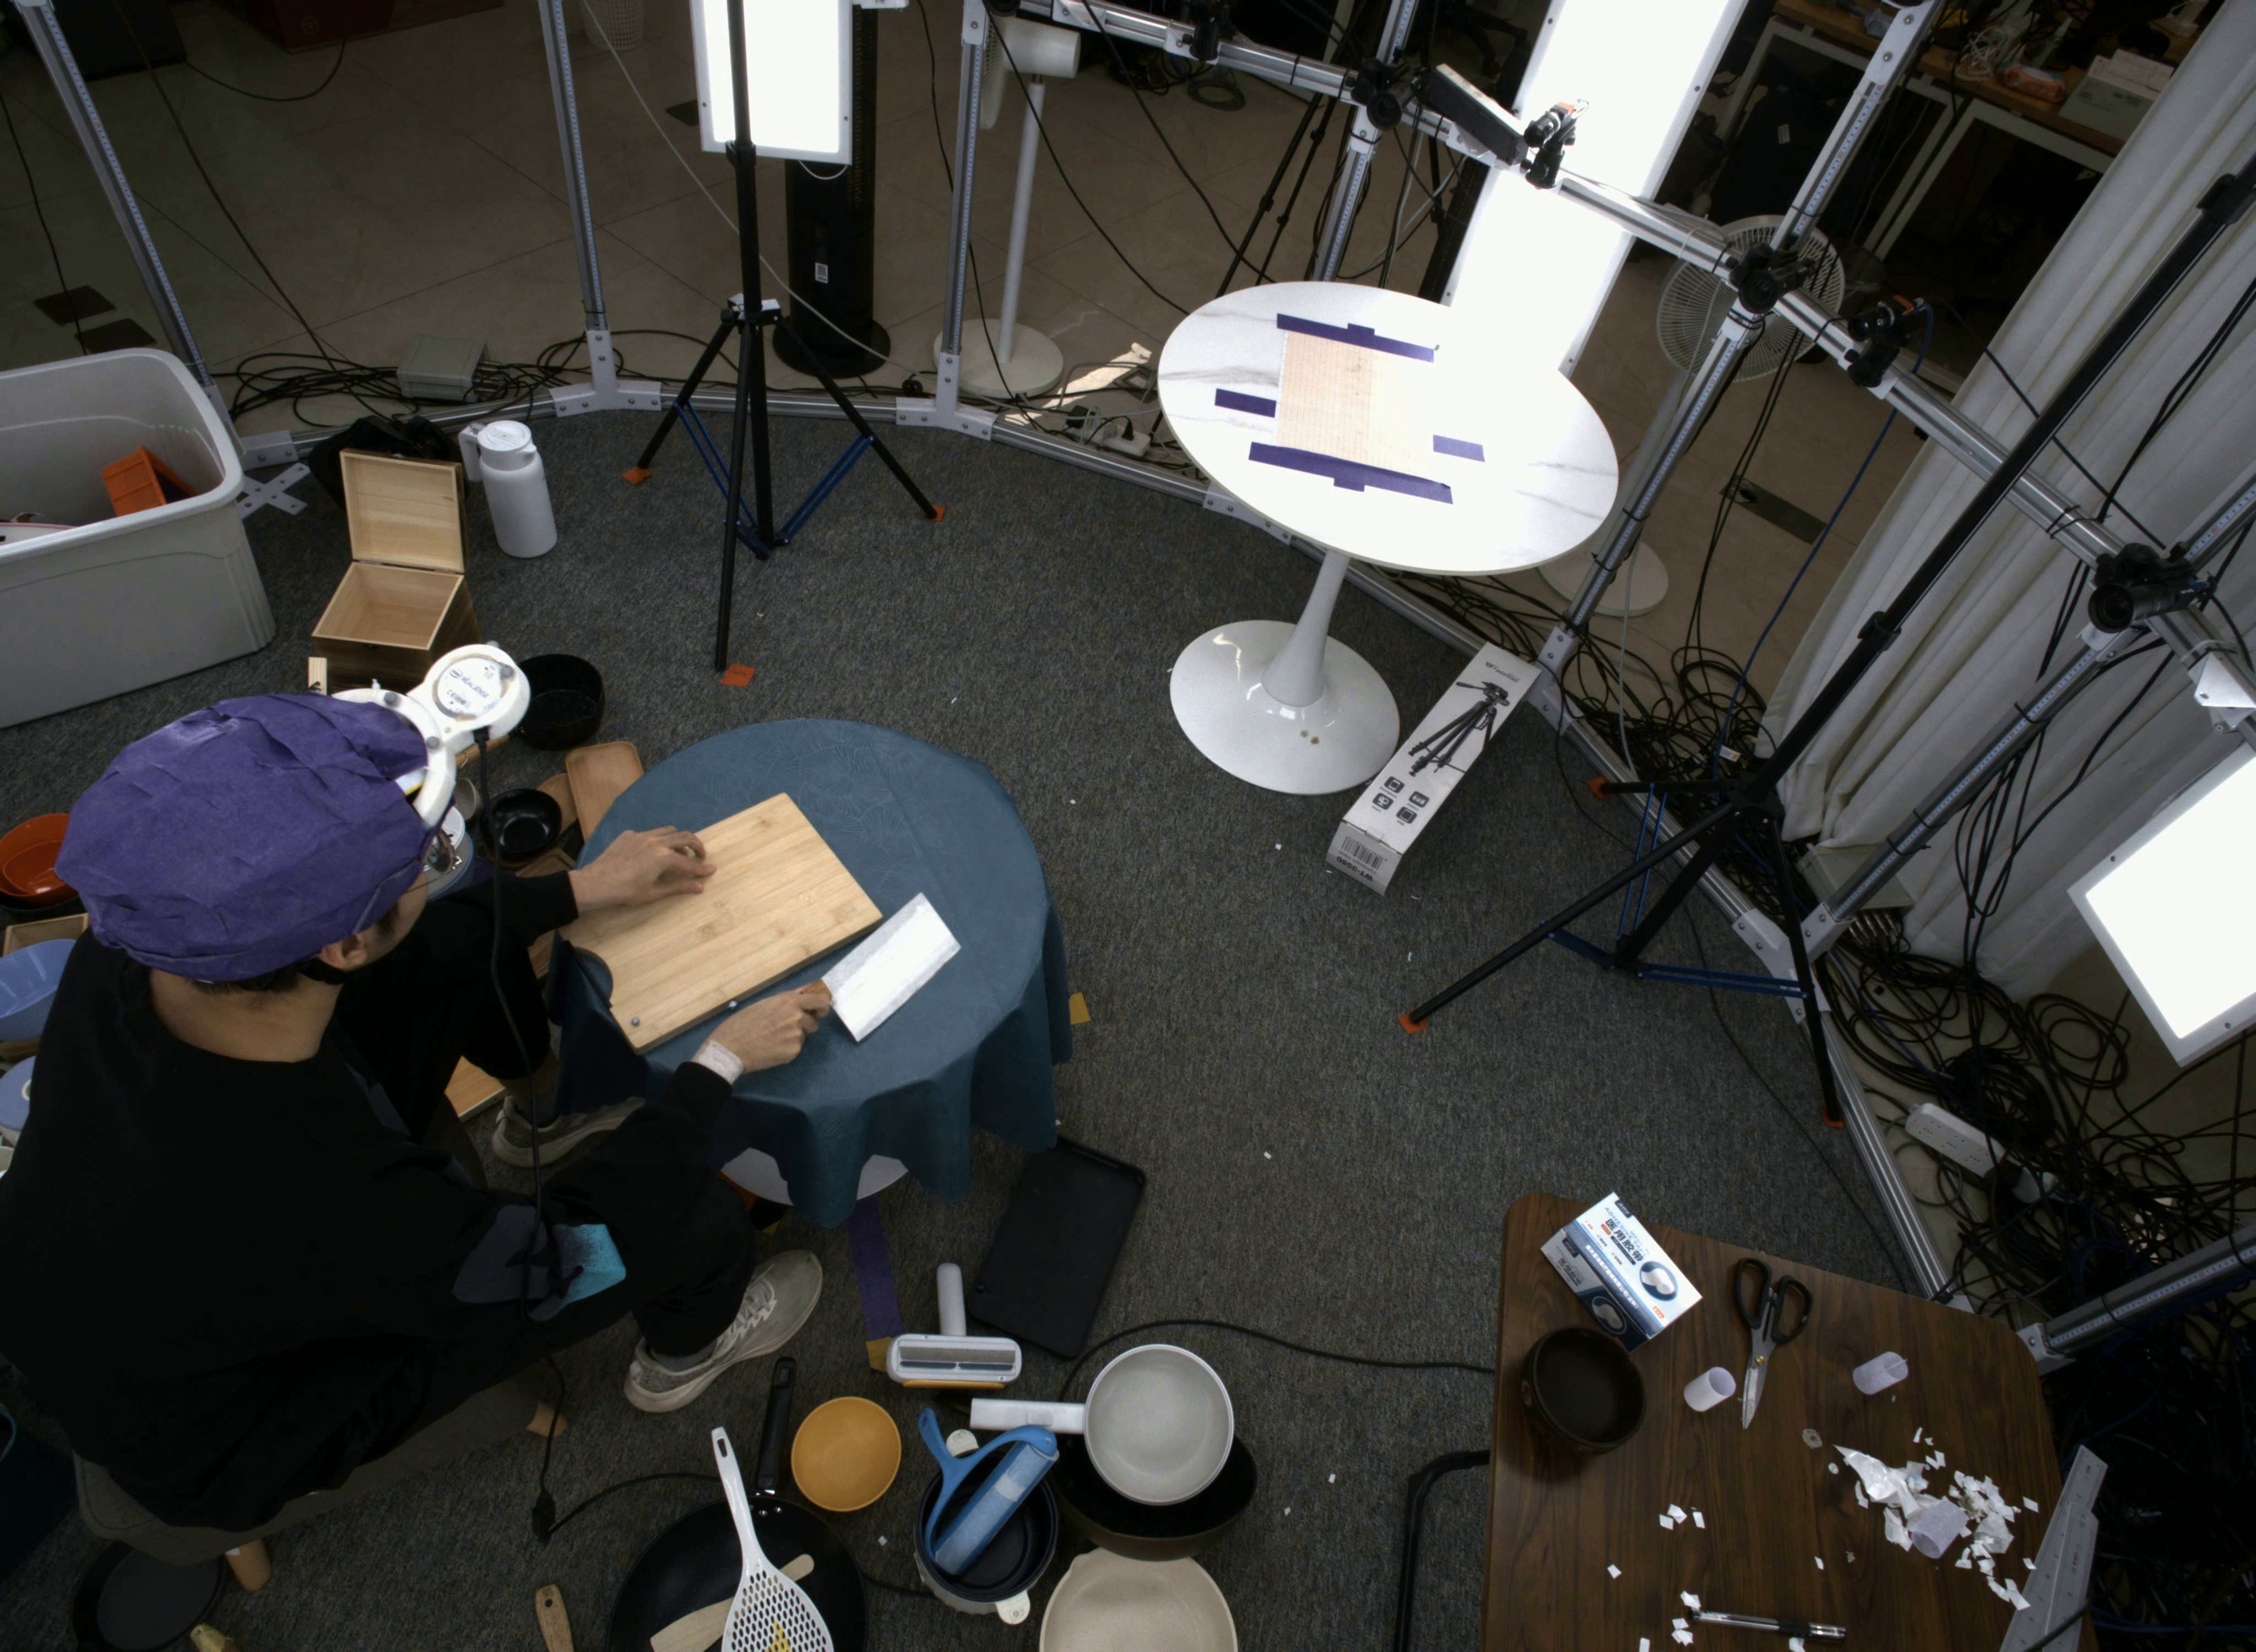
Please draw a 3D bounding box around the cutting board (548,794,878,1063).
[{"bbox_3d":[-0.516,0.113,1.595,0.350,0.024,0.244,-31,65,-32],"label":"cutting board"}]

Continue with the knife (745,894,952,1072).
[{"bbox_3d":[-0.322,0.199,1.552,0.305,0.020,0.095,-44,107,-38],"label":"knife"}]
